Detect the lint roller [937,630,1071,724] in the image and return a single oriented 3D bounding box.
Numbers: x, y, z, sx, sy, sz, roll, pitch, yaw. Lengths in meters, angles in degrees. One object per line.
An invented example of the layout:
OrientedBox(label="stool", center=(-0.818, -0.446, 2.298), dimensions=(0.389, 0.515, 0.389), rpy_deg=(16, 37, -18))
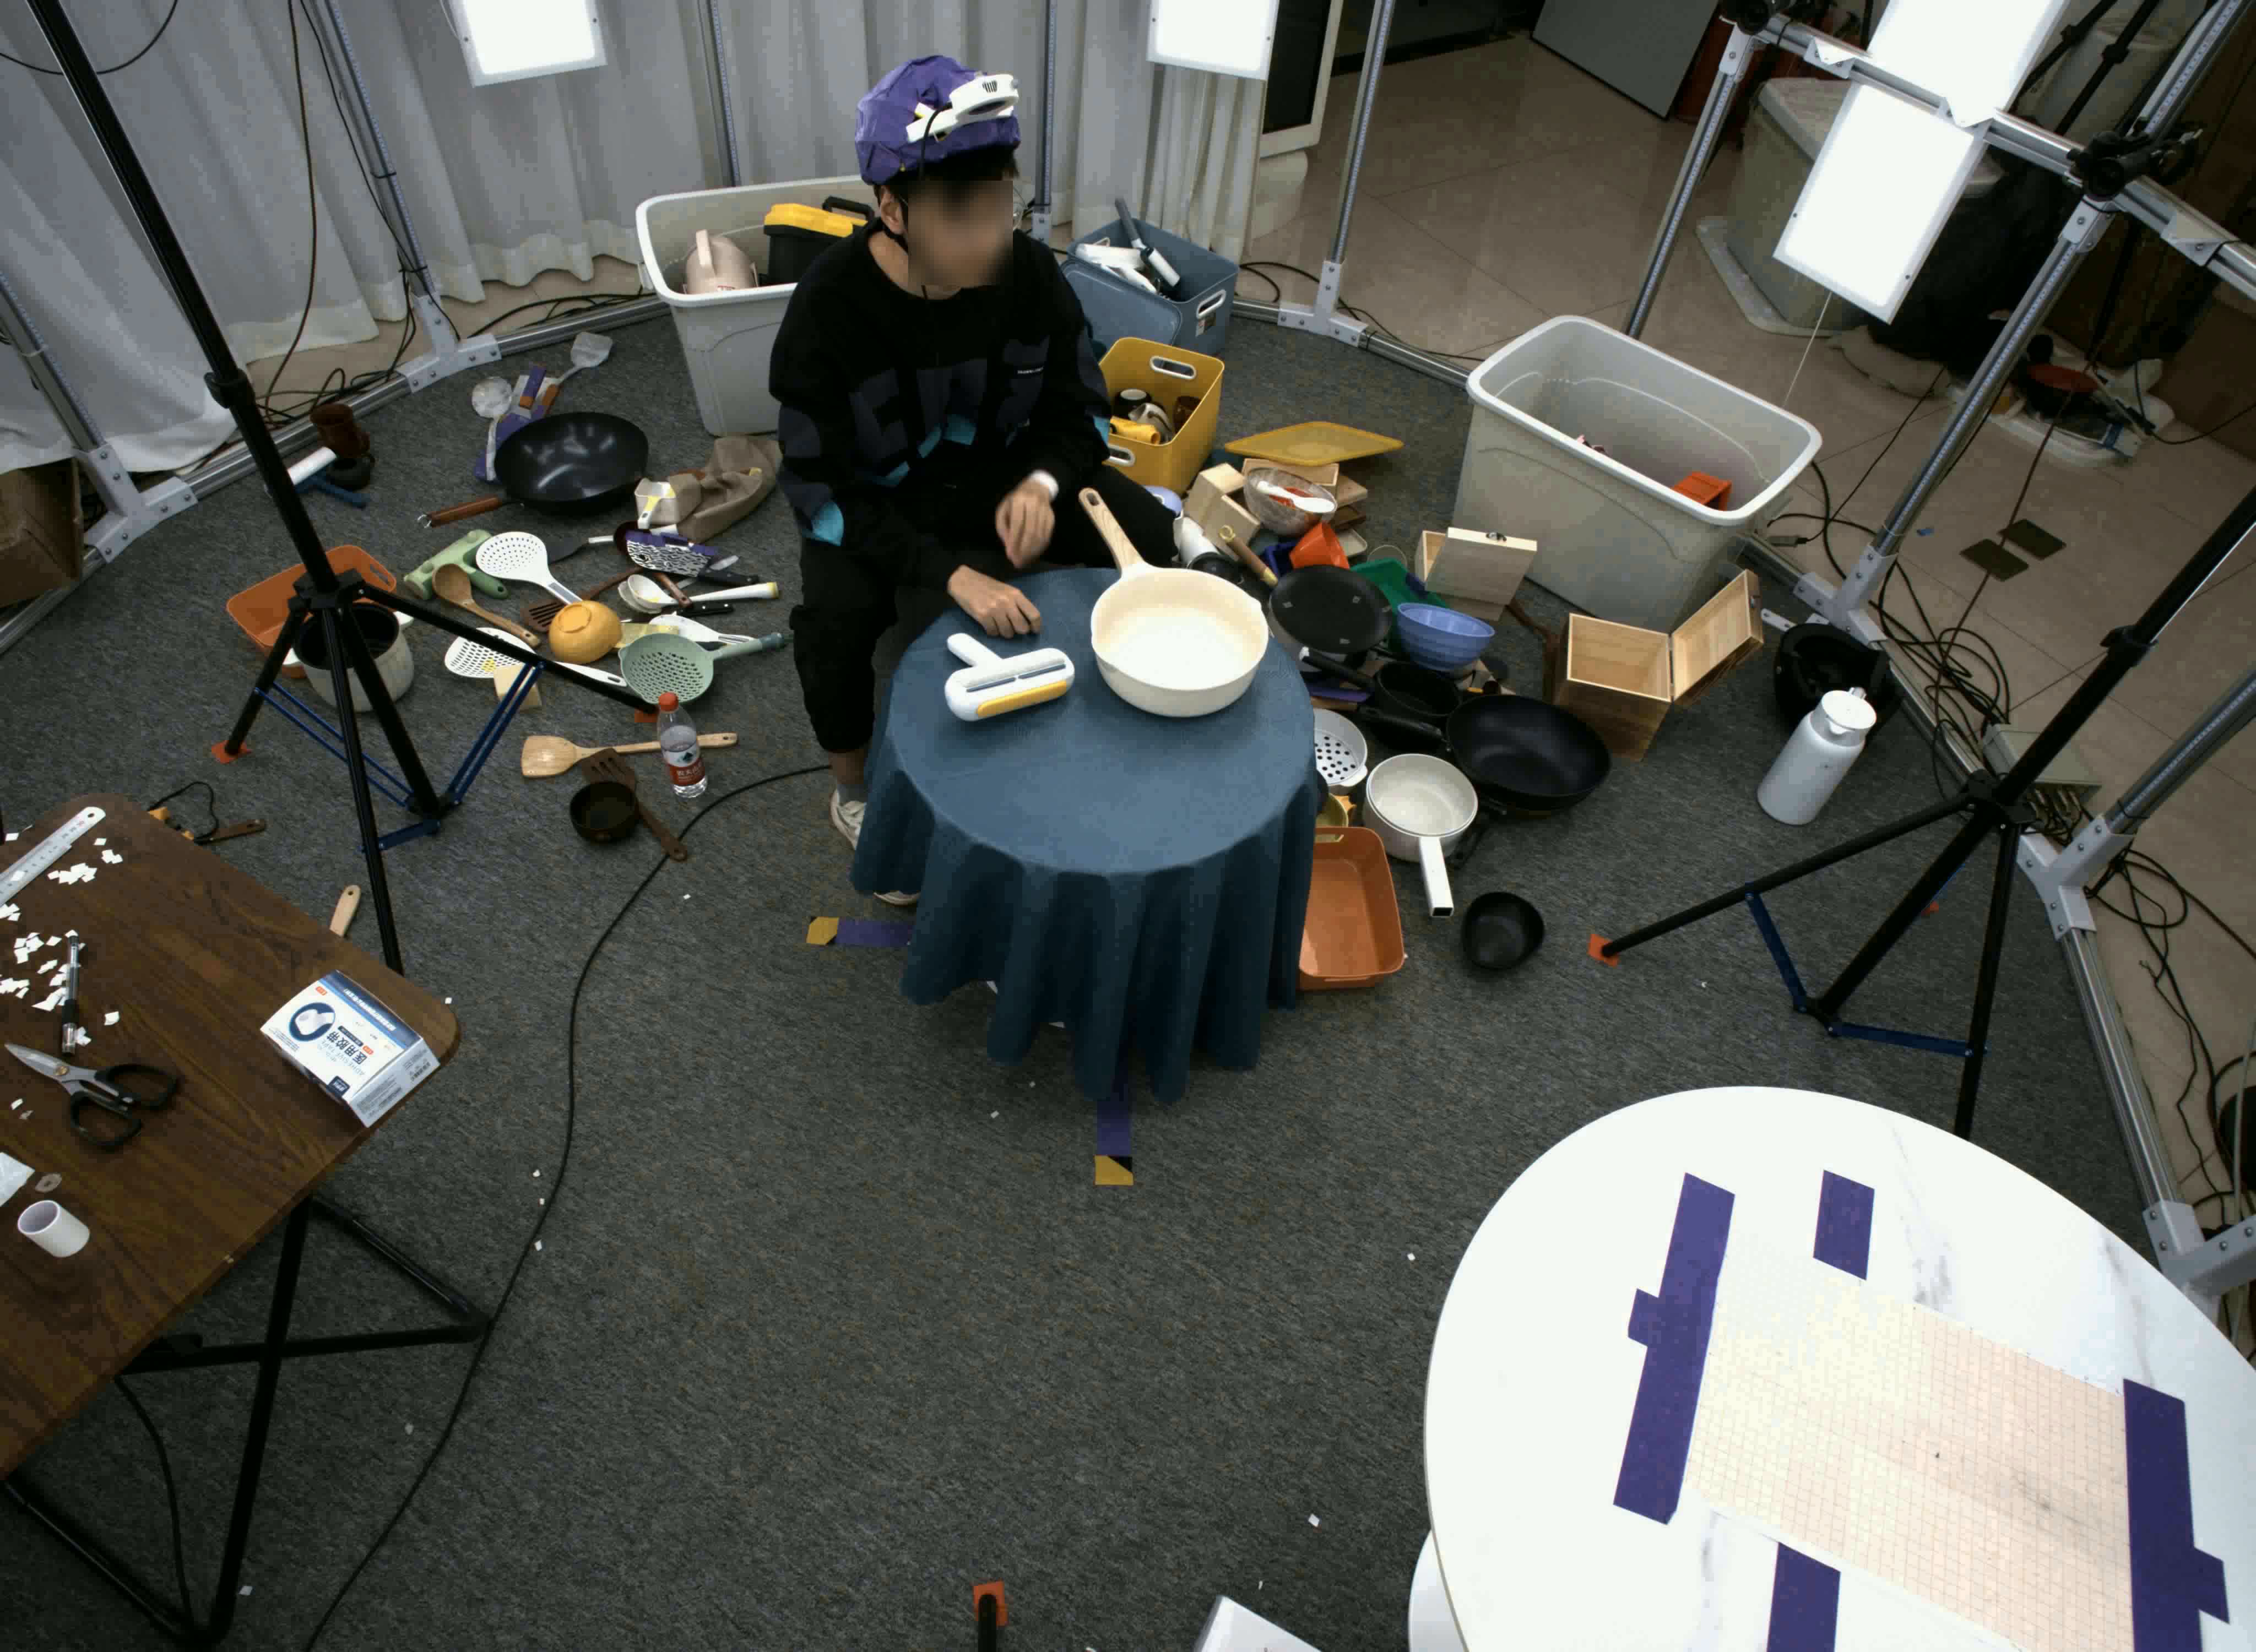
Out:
OrientedBox(label="lint roller", center=(-0.198, -0.227, 1.809), dimensions=(0.193, 0.072, 0.196), rpy_deg=(-19, 51, -25))

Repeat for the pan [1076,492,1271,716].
OrientedBox(label="pan", center=(0.033, -0.329, 1.891), dimensions=(0.264, 0.099, 0.444), rpy_deg=(-21, 54, -18))
